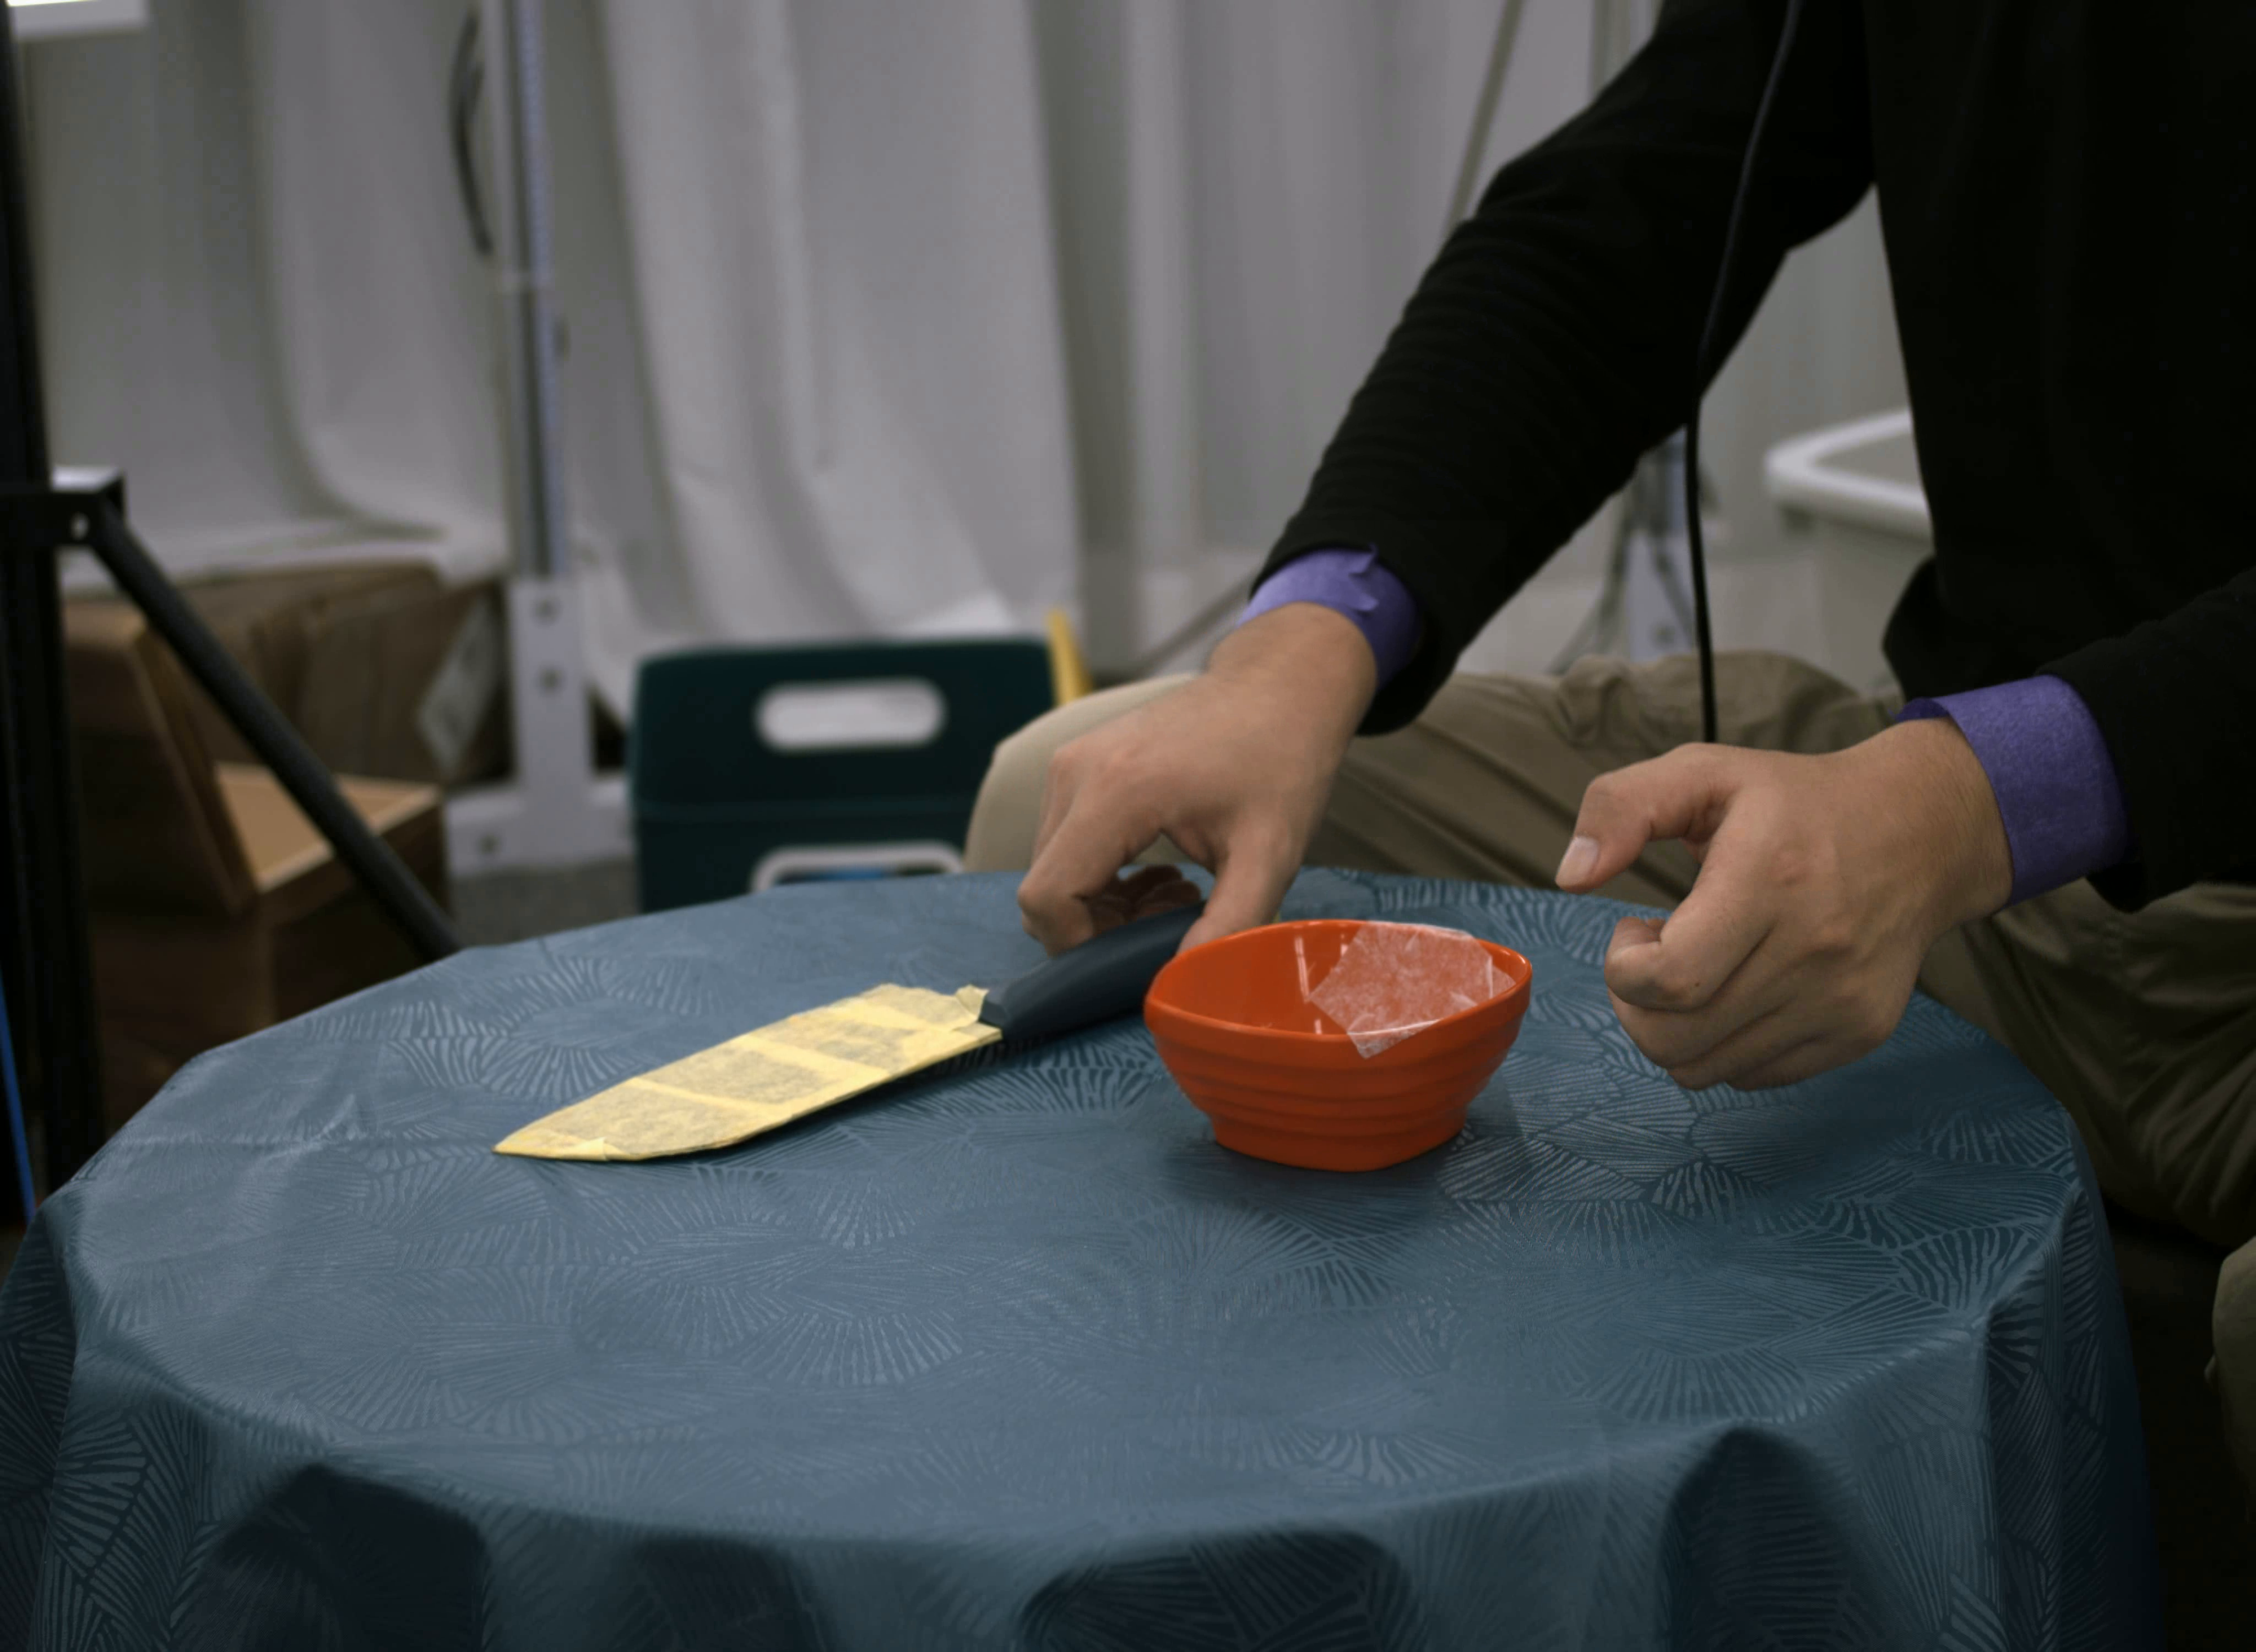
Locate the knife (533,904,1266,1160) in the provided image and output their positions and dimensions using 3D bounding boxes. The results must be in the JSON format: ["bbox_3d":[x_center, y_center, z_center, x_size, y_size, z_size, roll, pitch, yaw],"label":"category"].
[{"bbox_3d":[-0.070,0.065,1.692,0.283,0.027,0.083,-17,22,-37],"label":"knife"}]

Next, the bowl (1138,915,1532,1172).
[{"bbox_3d":[0.064,0.068,1.590,0.118,0.051,0.119,-5,16,0],"label":"bowl"}]
